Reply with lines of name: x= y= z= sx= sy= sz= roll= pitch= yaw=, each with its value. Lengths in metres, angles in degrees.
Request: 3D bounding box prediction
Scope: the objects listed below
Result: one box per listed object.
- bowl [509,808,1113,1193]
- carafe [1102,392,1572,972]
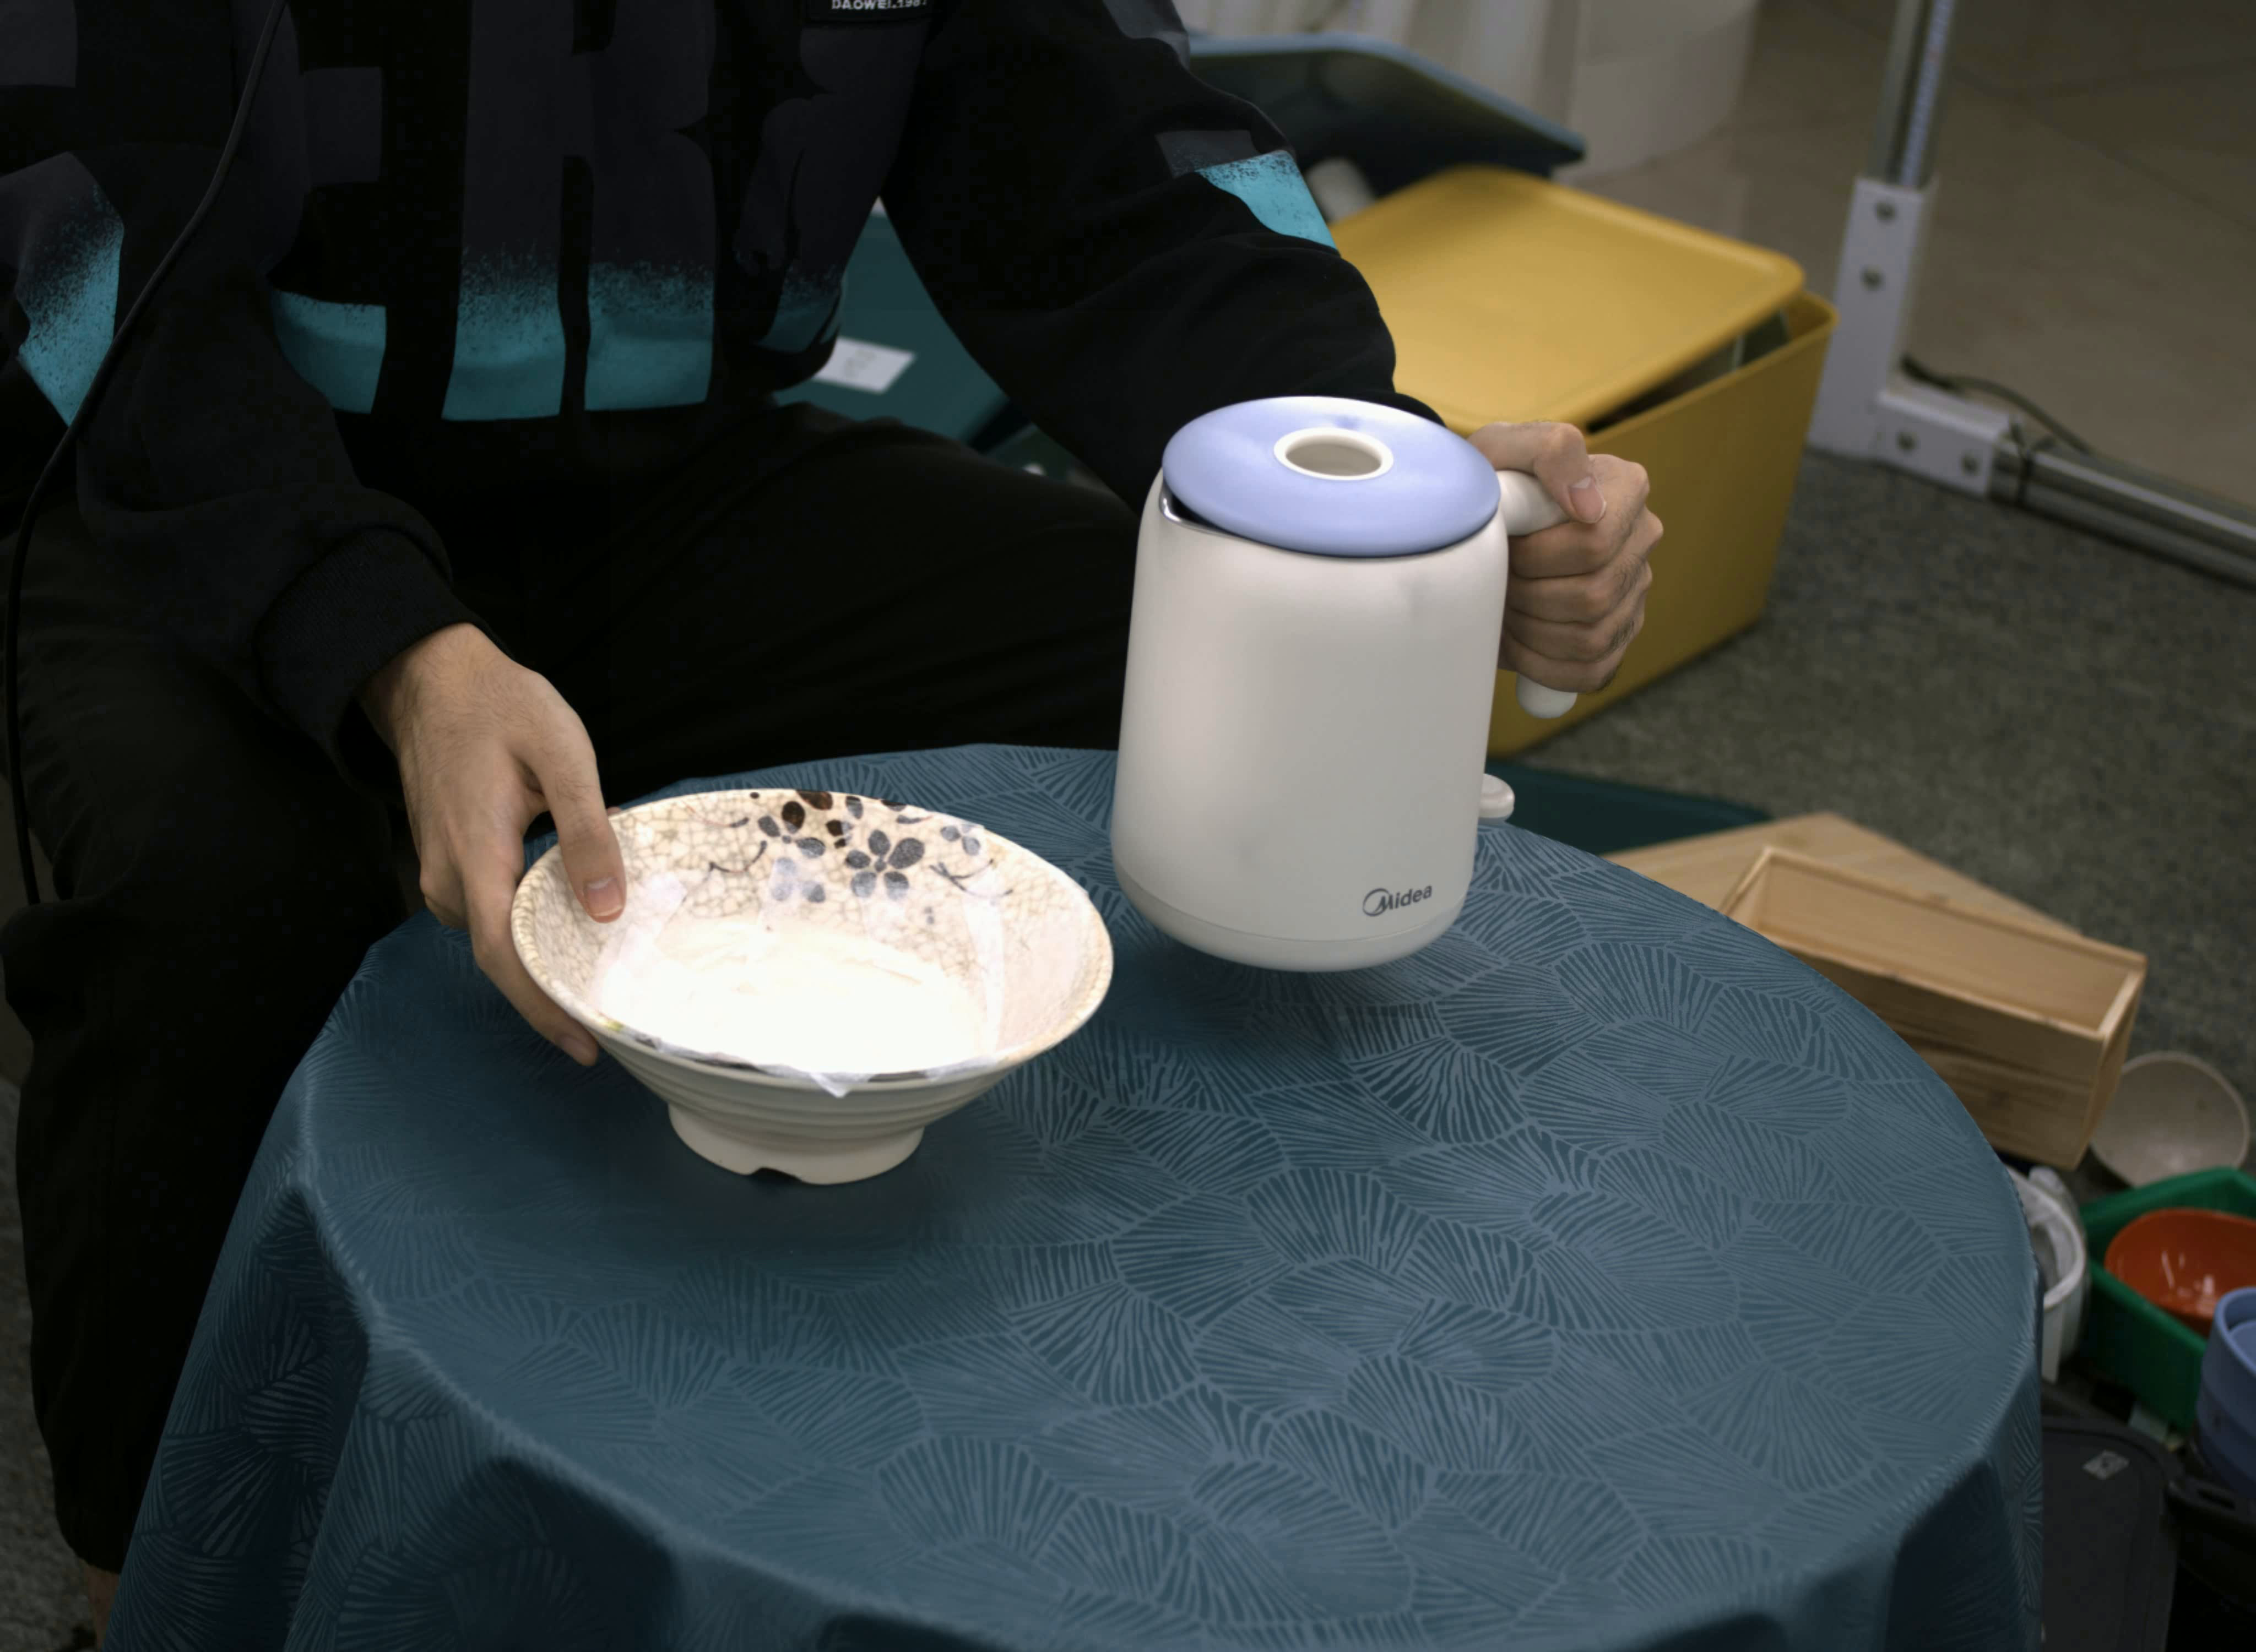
bowl: x=-0.109 y=0.070 z=1.798 sx=0.203 sy=0.078 sz=0.205 roll=4 pitch=24 yaw=-2
carafe: x=0.083 y=-0.056 z=1.897 sx=0.190 sy=0.182 sz=0.133 roll=-12 pitch=33 yaw=-33
